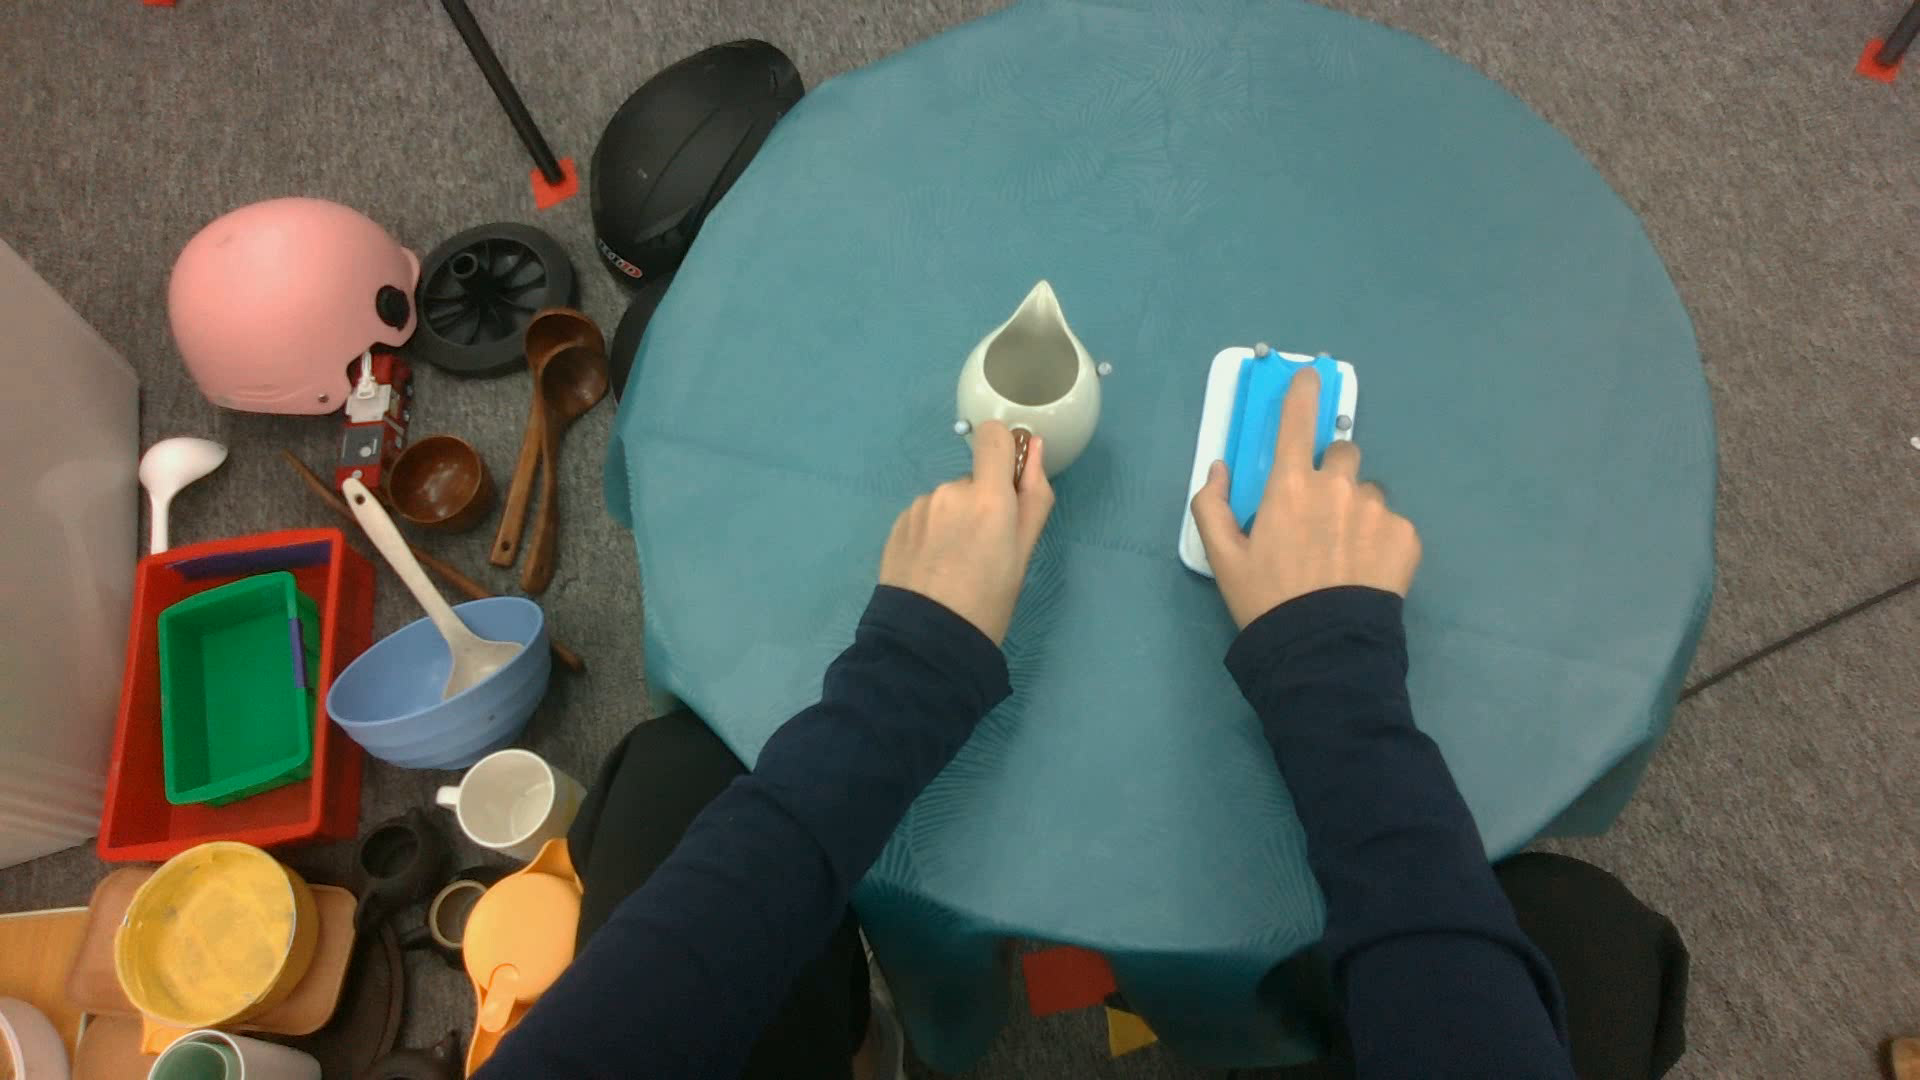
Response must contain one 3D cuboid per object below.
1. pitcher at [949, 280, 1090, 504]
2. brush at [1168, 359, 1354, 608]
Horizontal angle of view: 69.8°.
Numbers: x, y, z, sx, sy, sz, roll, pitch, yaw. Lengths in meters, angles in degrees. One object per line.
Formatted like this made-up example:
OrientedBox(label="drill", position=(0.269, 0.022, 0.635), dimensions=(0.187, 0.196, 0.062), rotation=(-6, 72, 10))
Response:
OrientedBox(label="pitcher", position=(0.030, -0.066, 0.742), dimensions=(0.076, 0.087, 0.120), rotation=(10, 57, 10))
OrientedBox(label="brush", position=(0.162, -0.037, 0.733), dimensions=(0.084, 0.056, 0.144), rotation=(10, 65, 13))
